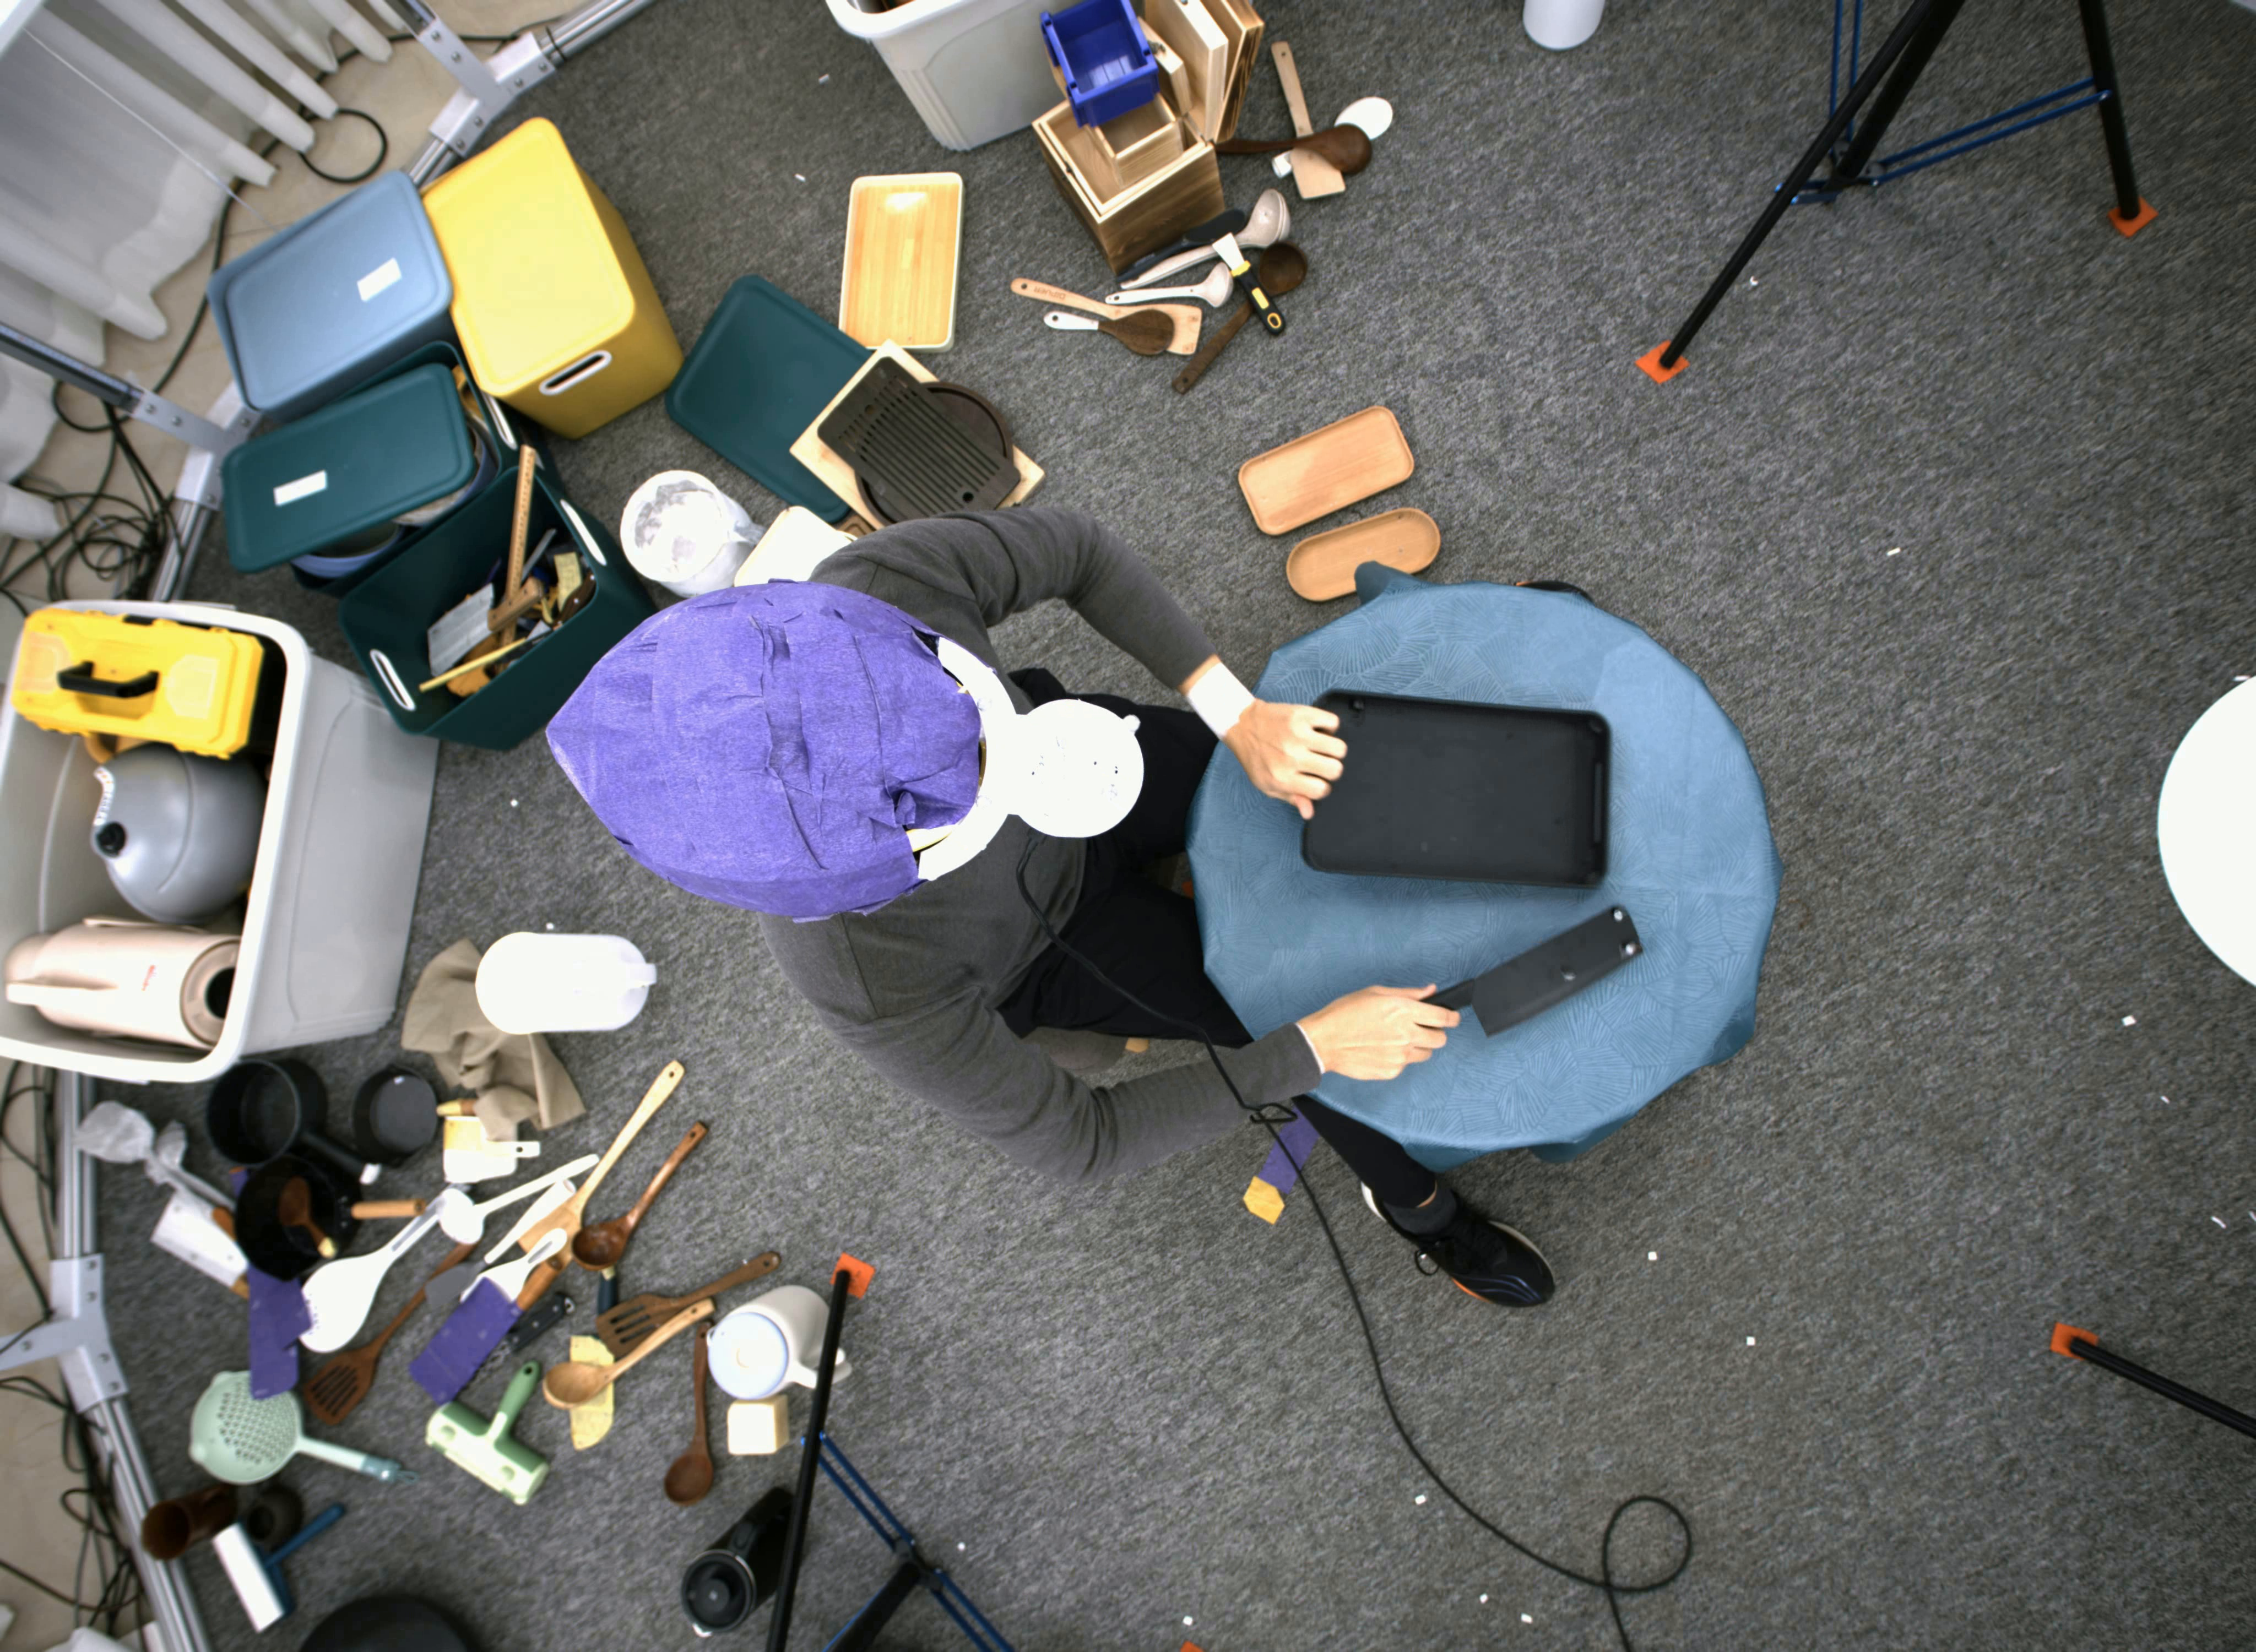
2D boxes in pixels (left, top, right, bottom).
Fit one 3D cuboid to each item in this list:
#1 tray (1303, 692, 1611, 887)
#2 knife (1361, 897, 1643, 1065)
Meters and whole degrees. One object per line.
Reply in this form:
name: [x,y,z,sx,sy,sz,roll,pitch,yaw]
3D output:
tray: [0.332,-0.036,1.387,0.318,0.037,0.183,2,87,-8]
knife: [0.367,0.159,1.358,0.303,0.020,0.082,-24,108,1]
